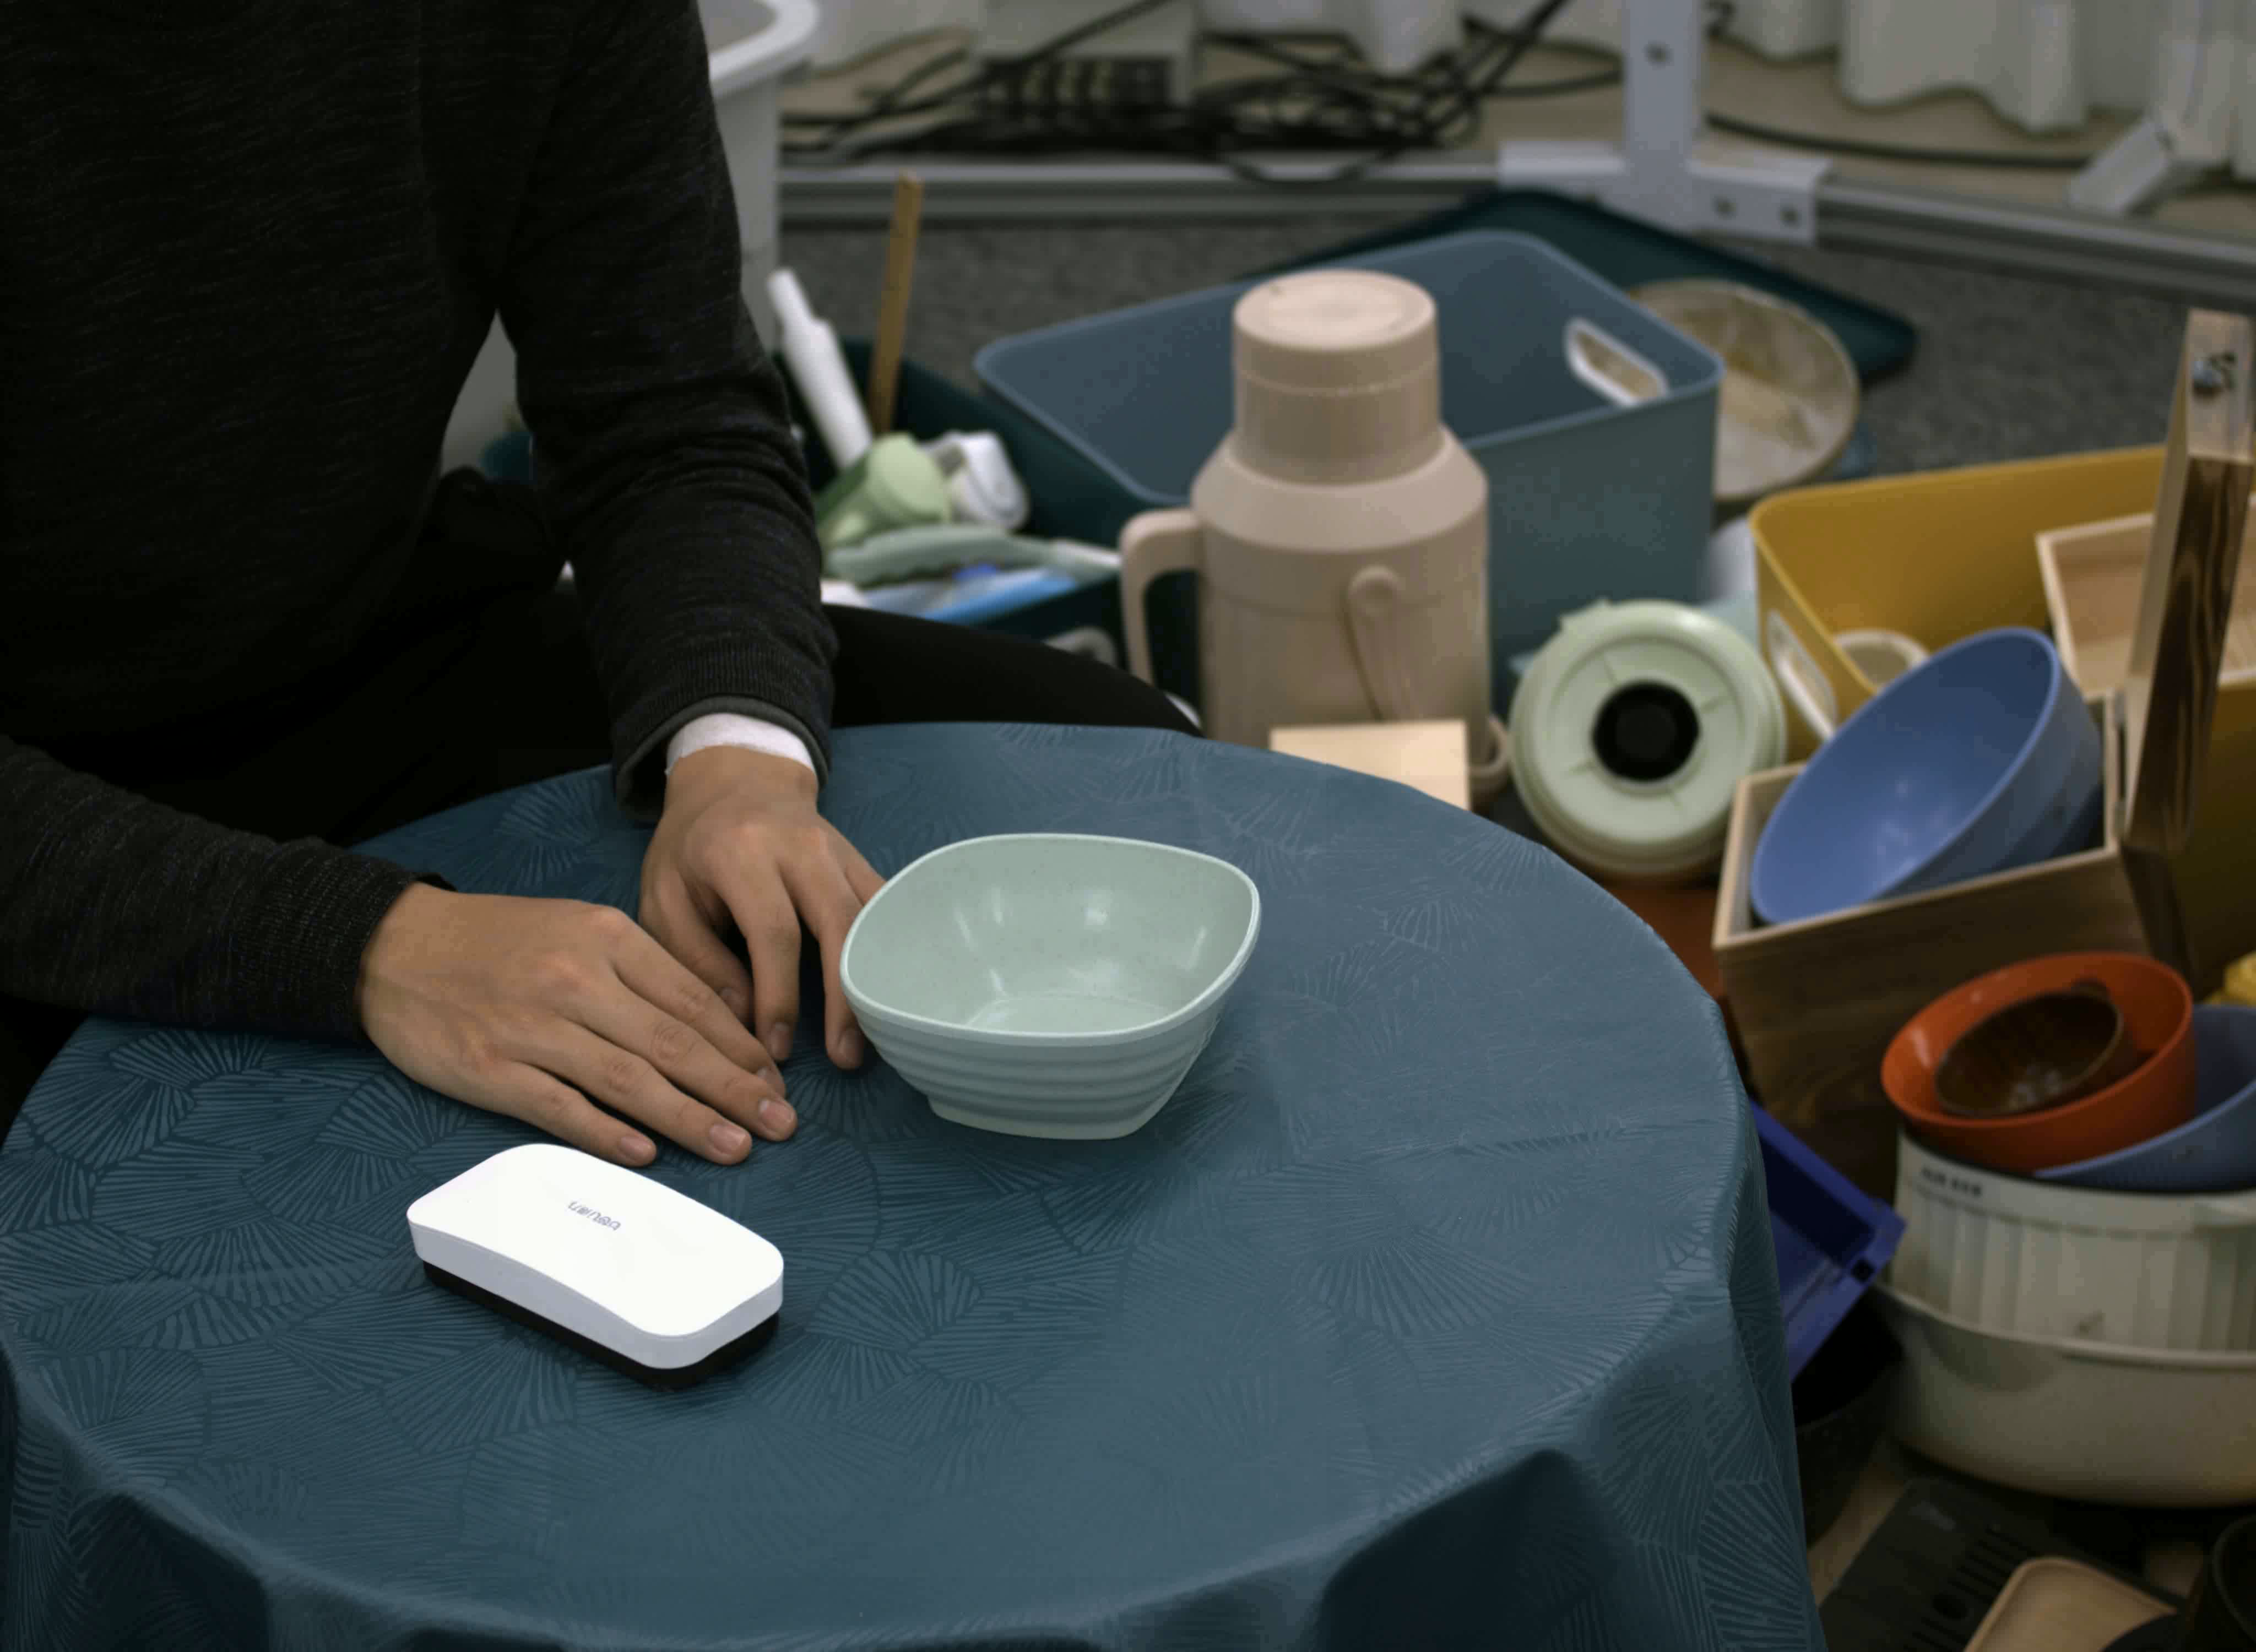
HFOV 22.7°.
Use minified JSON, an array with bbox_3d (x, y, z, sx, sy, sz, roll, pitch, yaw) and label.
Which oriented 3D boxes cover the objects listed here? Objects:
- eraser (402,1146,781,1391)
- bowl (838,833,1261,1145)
[{"bbox_3d":[-0.172,0.139,1.810,0.131,0.034,0.064,21,34,36],"label":"eraser"},{"bbox_3d":[-0.026,0.062,1.921,0.151,0.058,0.154,-1,28,1],"label":"bowl"}]
